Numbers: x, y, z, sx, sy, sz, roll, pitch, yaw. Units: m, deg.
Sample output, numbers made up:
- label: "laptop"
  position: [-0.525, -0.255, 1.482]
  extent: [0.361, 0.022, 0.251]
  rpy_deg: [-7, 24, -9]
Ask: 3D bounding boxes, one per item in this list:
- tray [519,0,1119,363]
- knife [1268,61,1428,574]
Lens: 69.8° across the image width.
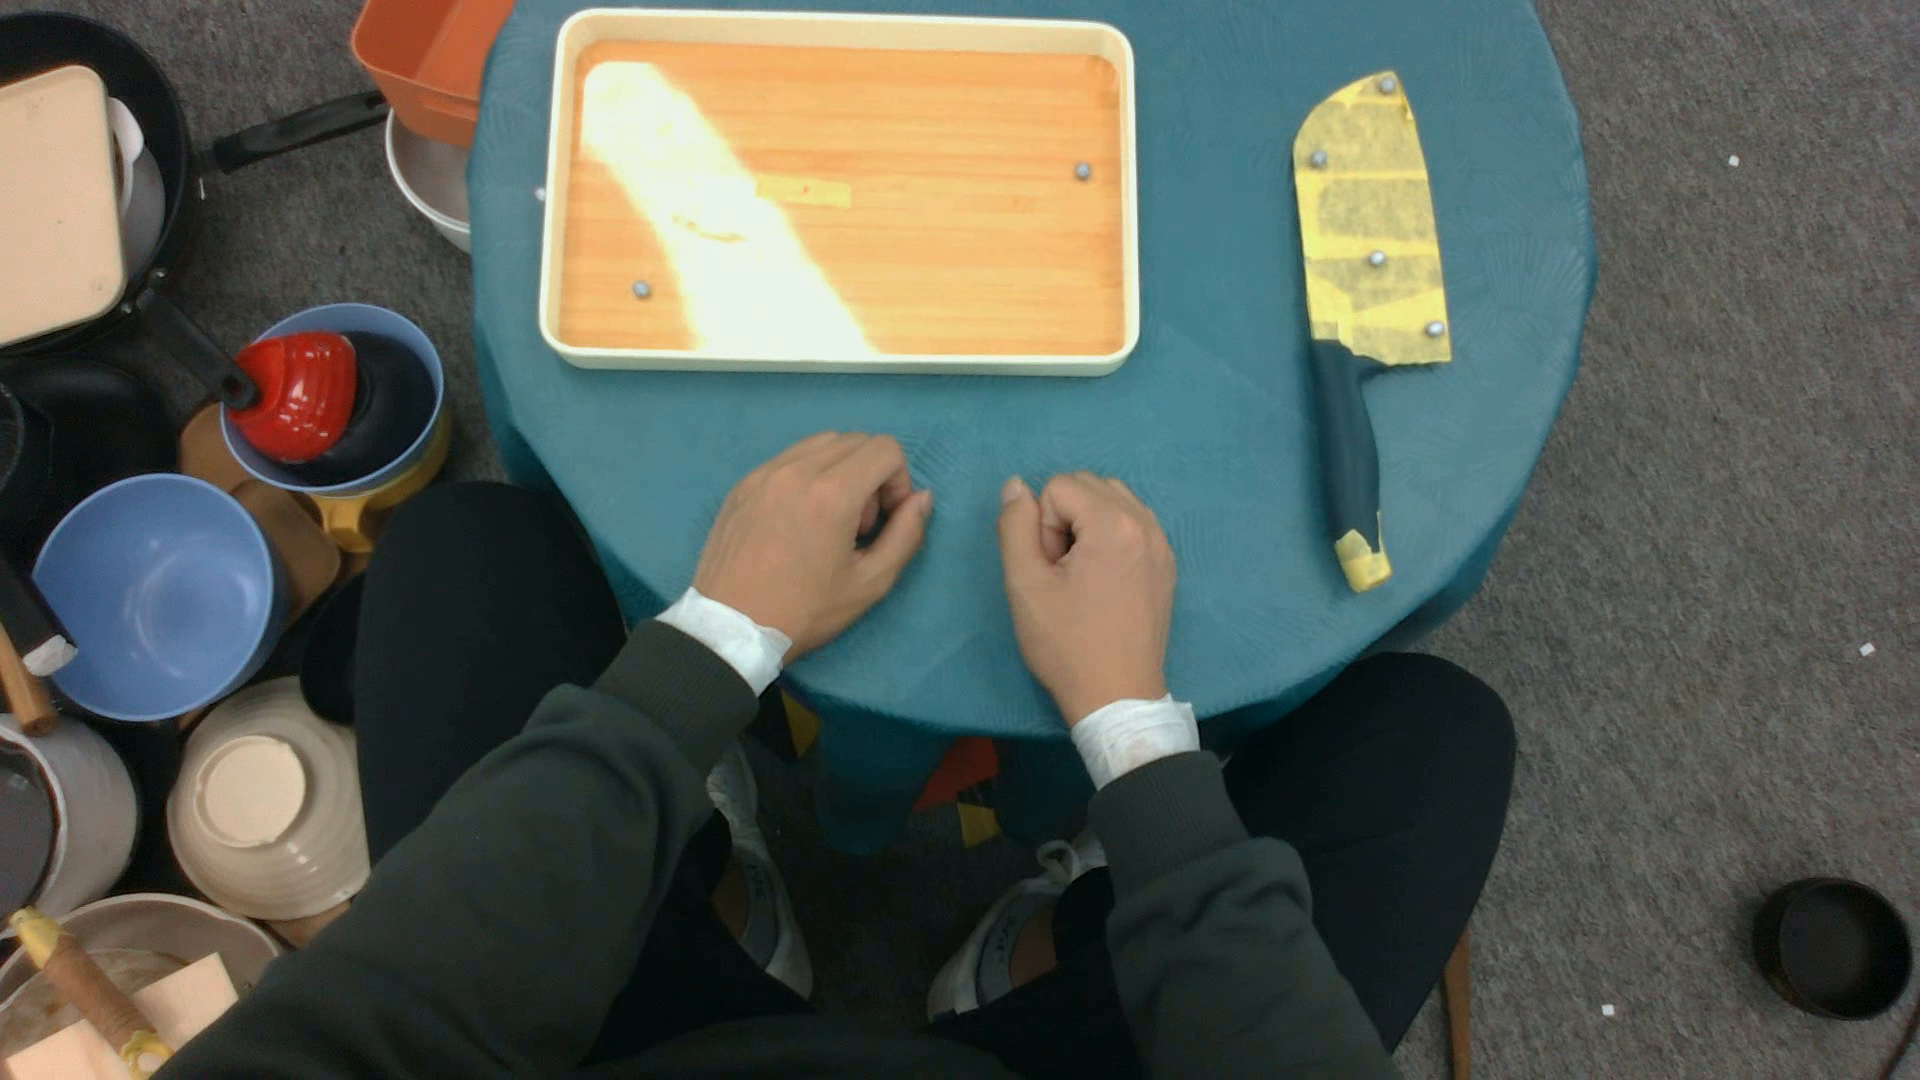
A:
- label: "tray"
  position: [-0.070, -0.186, 0.715]
  extent: [0.300, 0.027, 0.192]
  rpy_deg: [0, 79, -3]
- label: "knife"
  position: [0.206, -0.124, 0.725]
  extent: [0.081, 0.027, 0.290]
  rpy_deg: [1, 77, -2]
